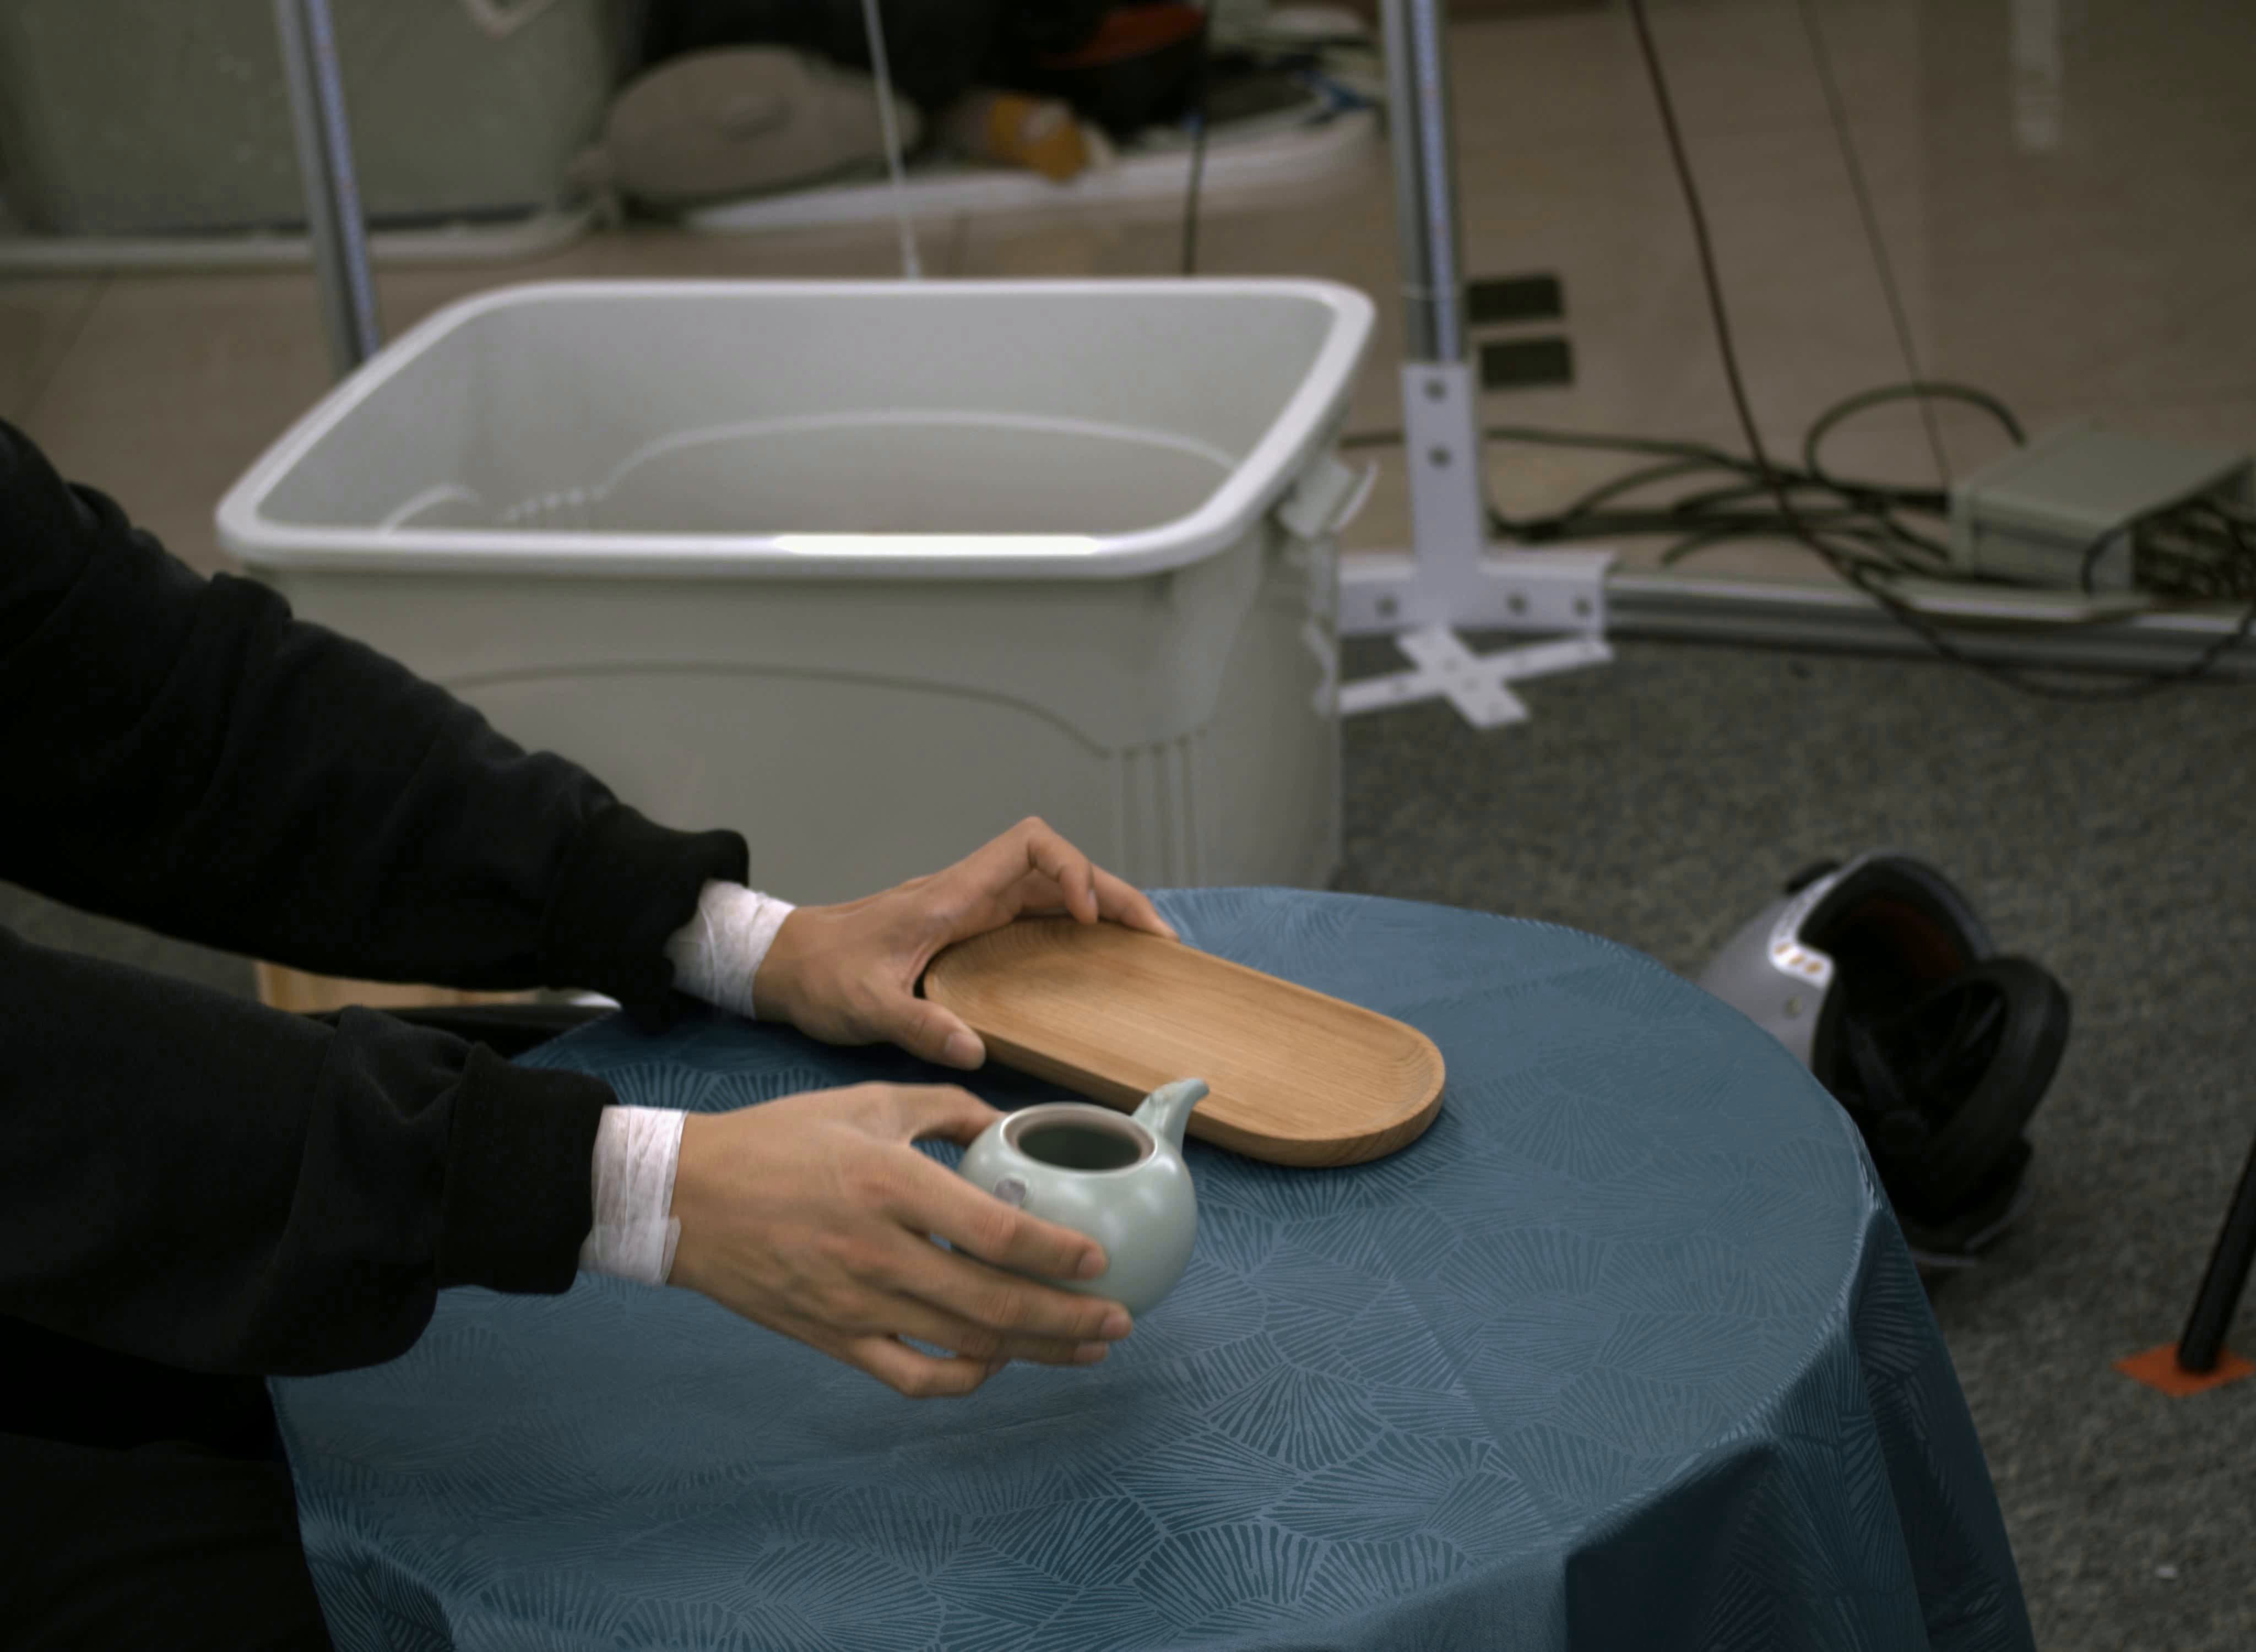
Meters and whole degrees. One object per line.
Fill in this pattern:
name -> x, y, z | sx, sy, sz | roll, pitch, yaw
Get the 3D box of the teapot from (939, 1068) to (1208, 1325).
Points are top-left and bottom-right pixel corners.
teapot -> -0.020, 0.133, 1.986 | 0.087, 0.076, 0.143 | 22, 24, 33

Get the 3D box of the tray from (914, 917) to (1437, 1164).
tray -> 0.017, 0.083, 2.221 | 0.229, 0.020, 0.100 | 17, 32, 34
